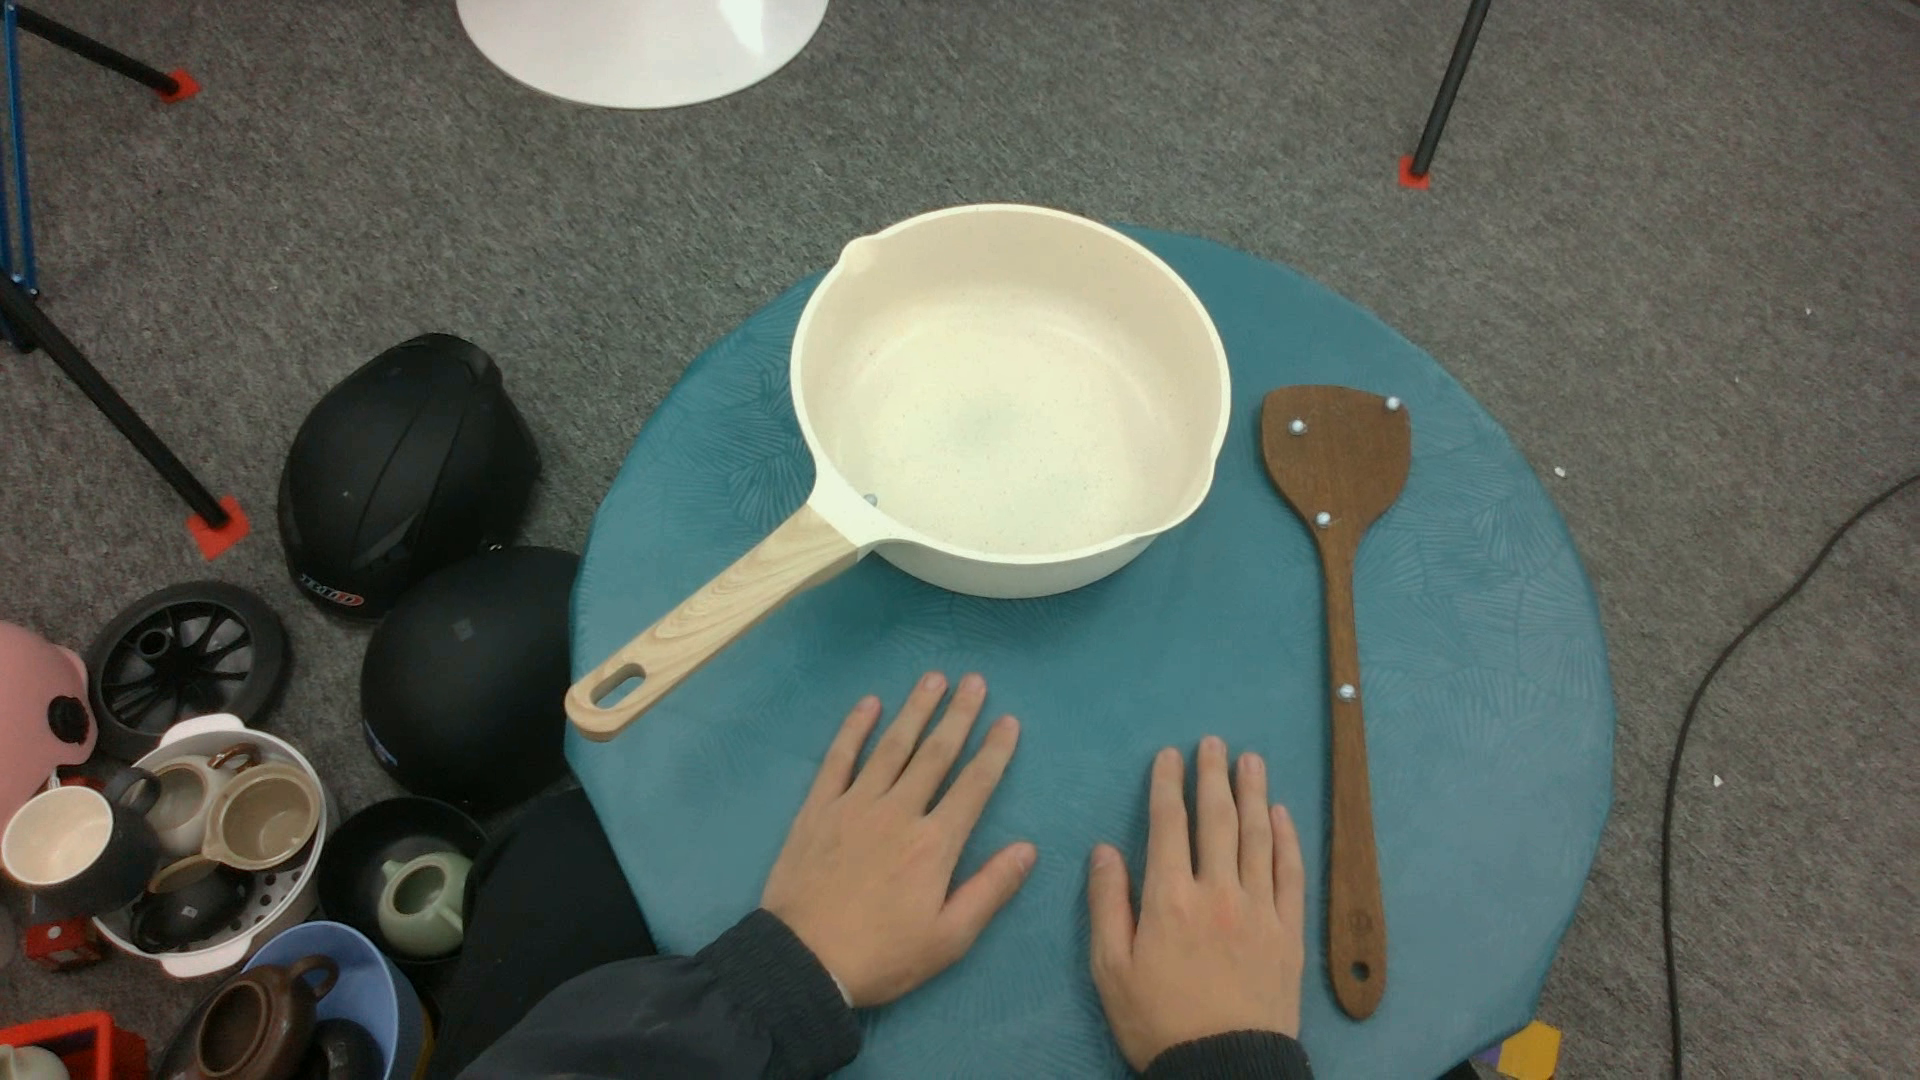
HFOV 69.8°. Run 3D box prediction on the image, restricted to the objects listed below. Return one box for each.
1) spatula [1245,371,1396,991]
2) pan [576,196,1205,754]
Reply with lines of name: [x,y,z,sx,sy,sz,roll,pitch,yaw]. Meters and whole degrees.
spatula: [0.219,0.061,0.797,0.096,0.016,0.387,4,61,0]
pan: [-0.043,-0.027,0.783,0.263,0.101,0.436,38,65,15]
